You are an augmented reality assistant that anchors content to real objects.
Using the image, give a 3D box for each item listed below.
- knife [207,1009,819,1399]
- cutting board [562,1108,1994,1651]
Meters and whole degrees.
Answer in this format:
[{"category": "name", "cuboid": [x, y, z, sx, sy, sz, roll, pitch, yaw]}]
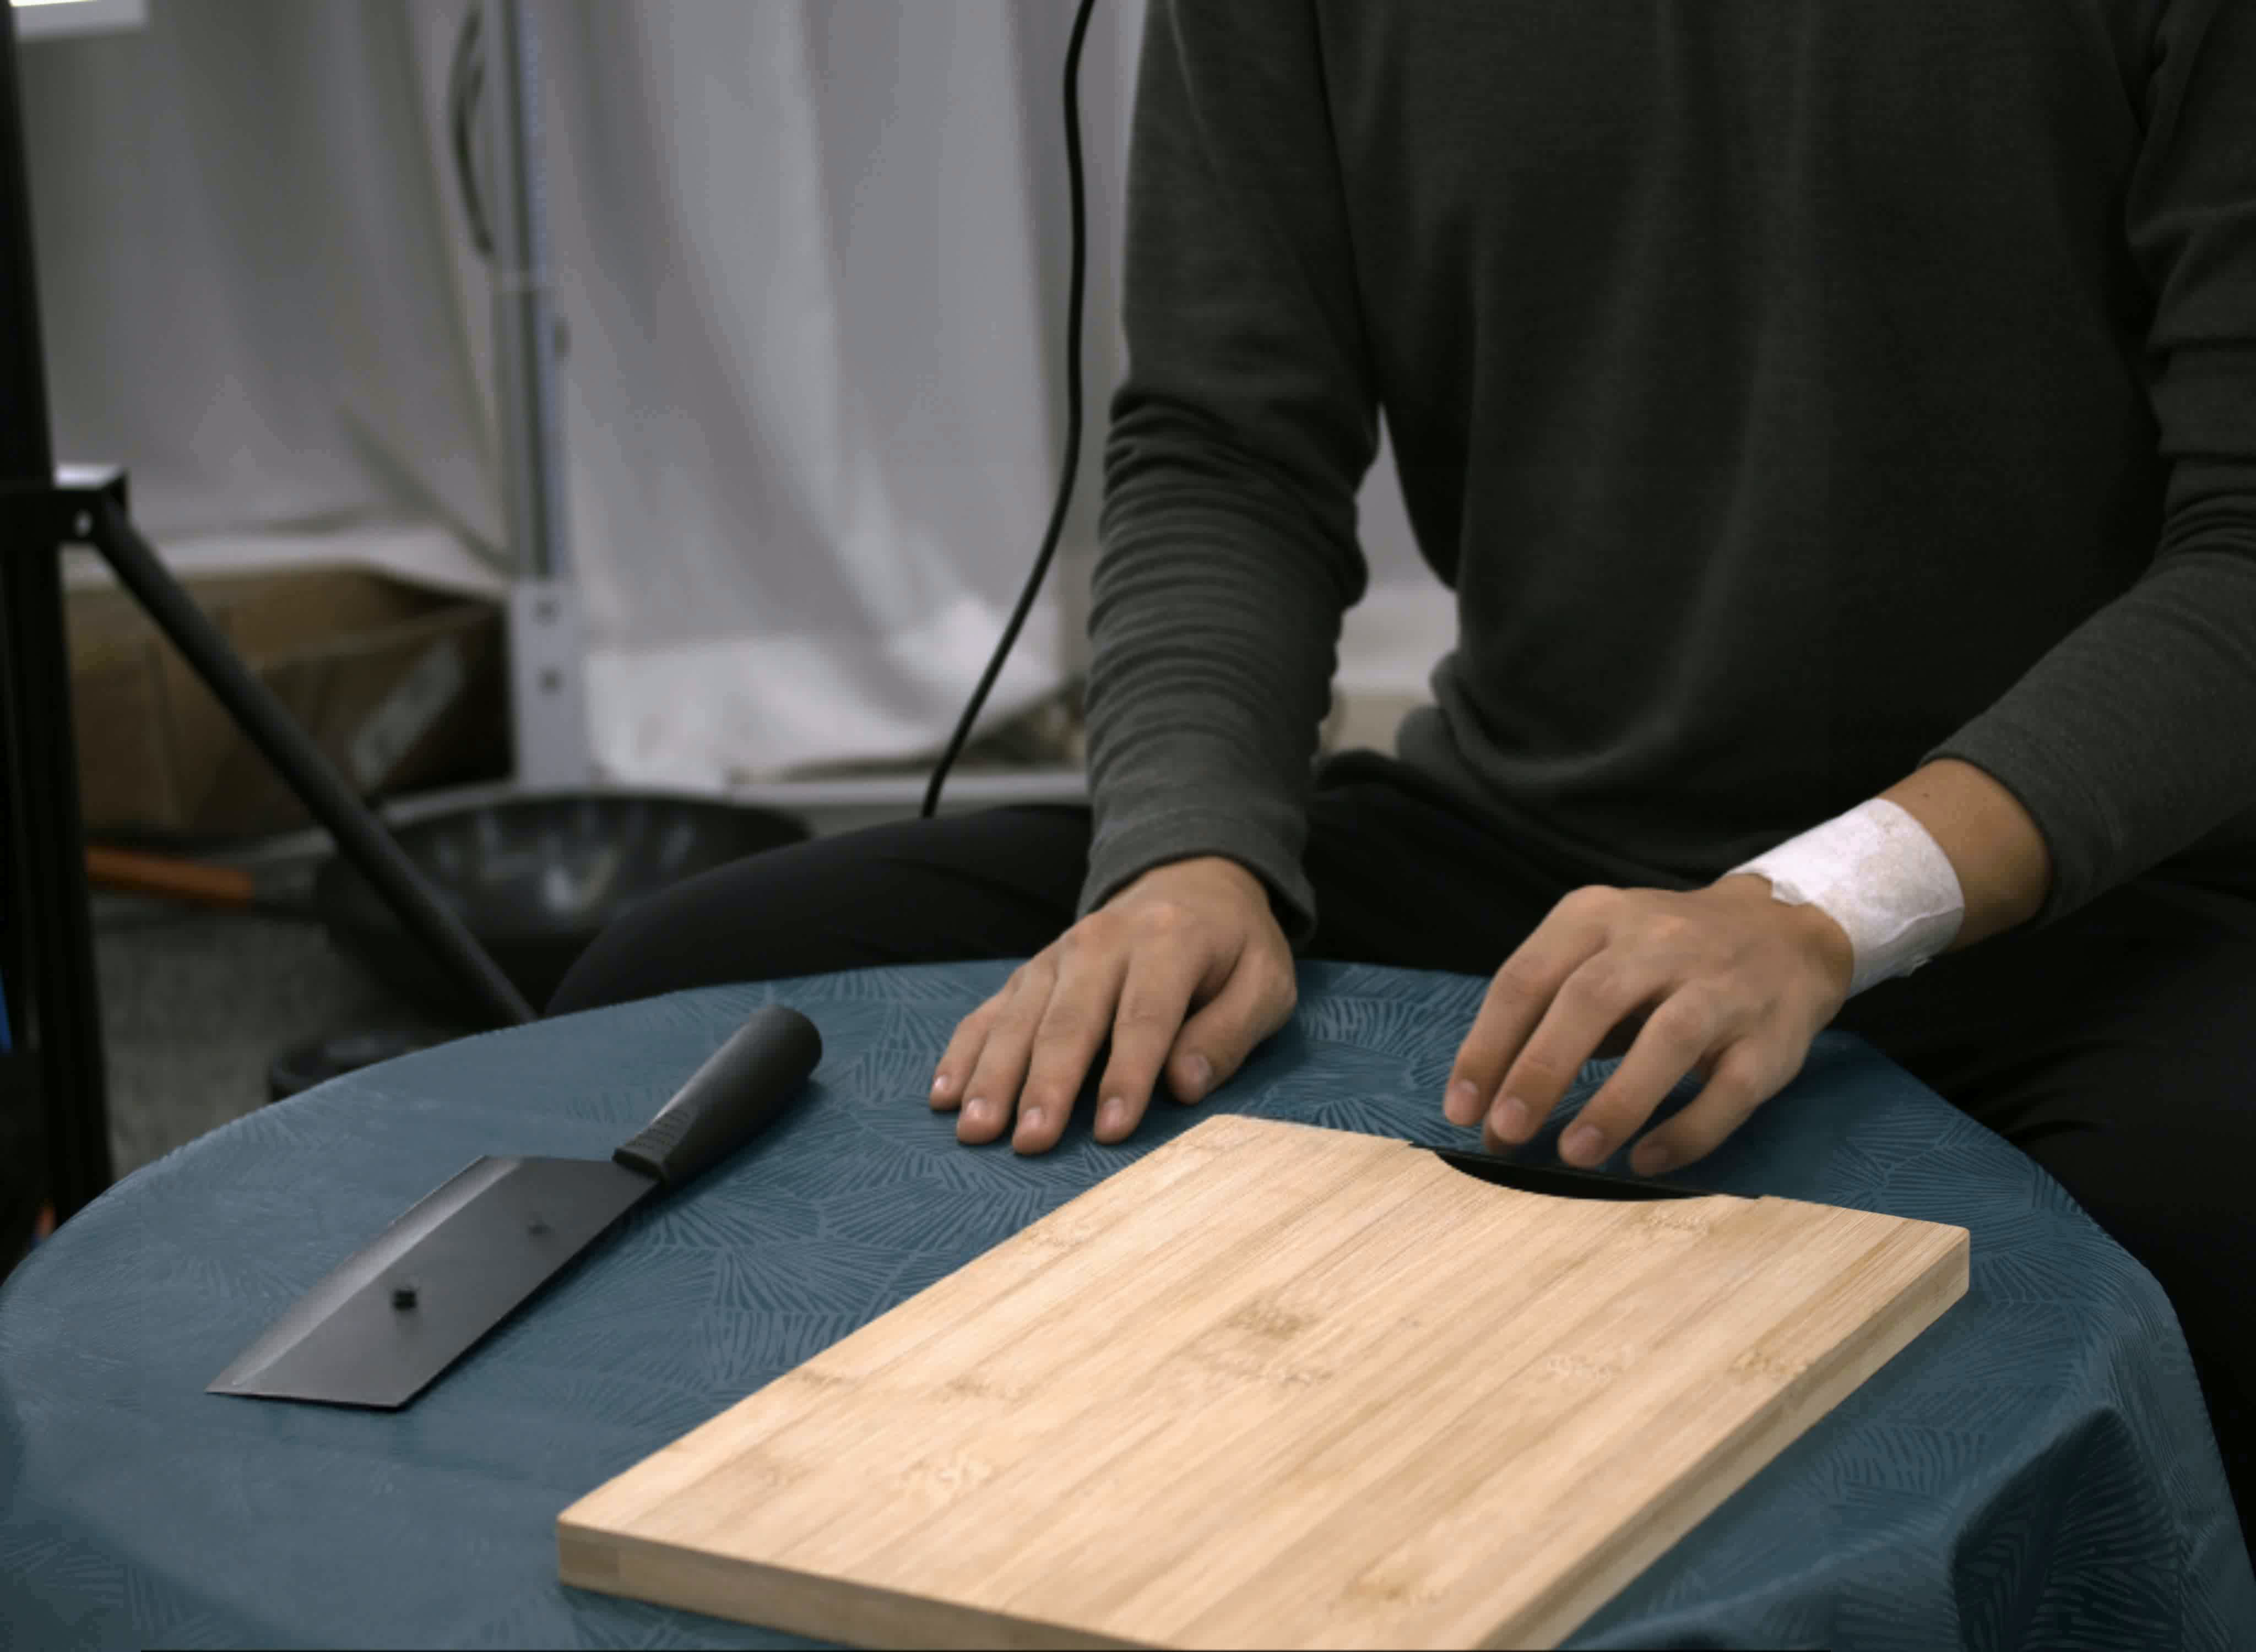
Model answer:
[{"category": "knife", "cuboid": [-0.169, 0.109, 1.560, 0.082, 0.021, 0.298, 3, 18, 25]}, {"category": "cutting board", "cuboid": [0.049, 0.148, 1.382, 0.255, 0.023, 0.342, 7, 18, 30]}]
